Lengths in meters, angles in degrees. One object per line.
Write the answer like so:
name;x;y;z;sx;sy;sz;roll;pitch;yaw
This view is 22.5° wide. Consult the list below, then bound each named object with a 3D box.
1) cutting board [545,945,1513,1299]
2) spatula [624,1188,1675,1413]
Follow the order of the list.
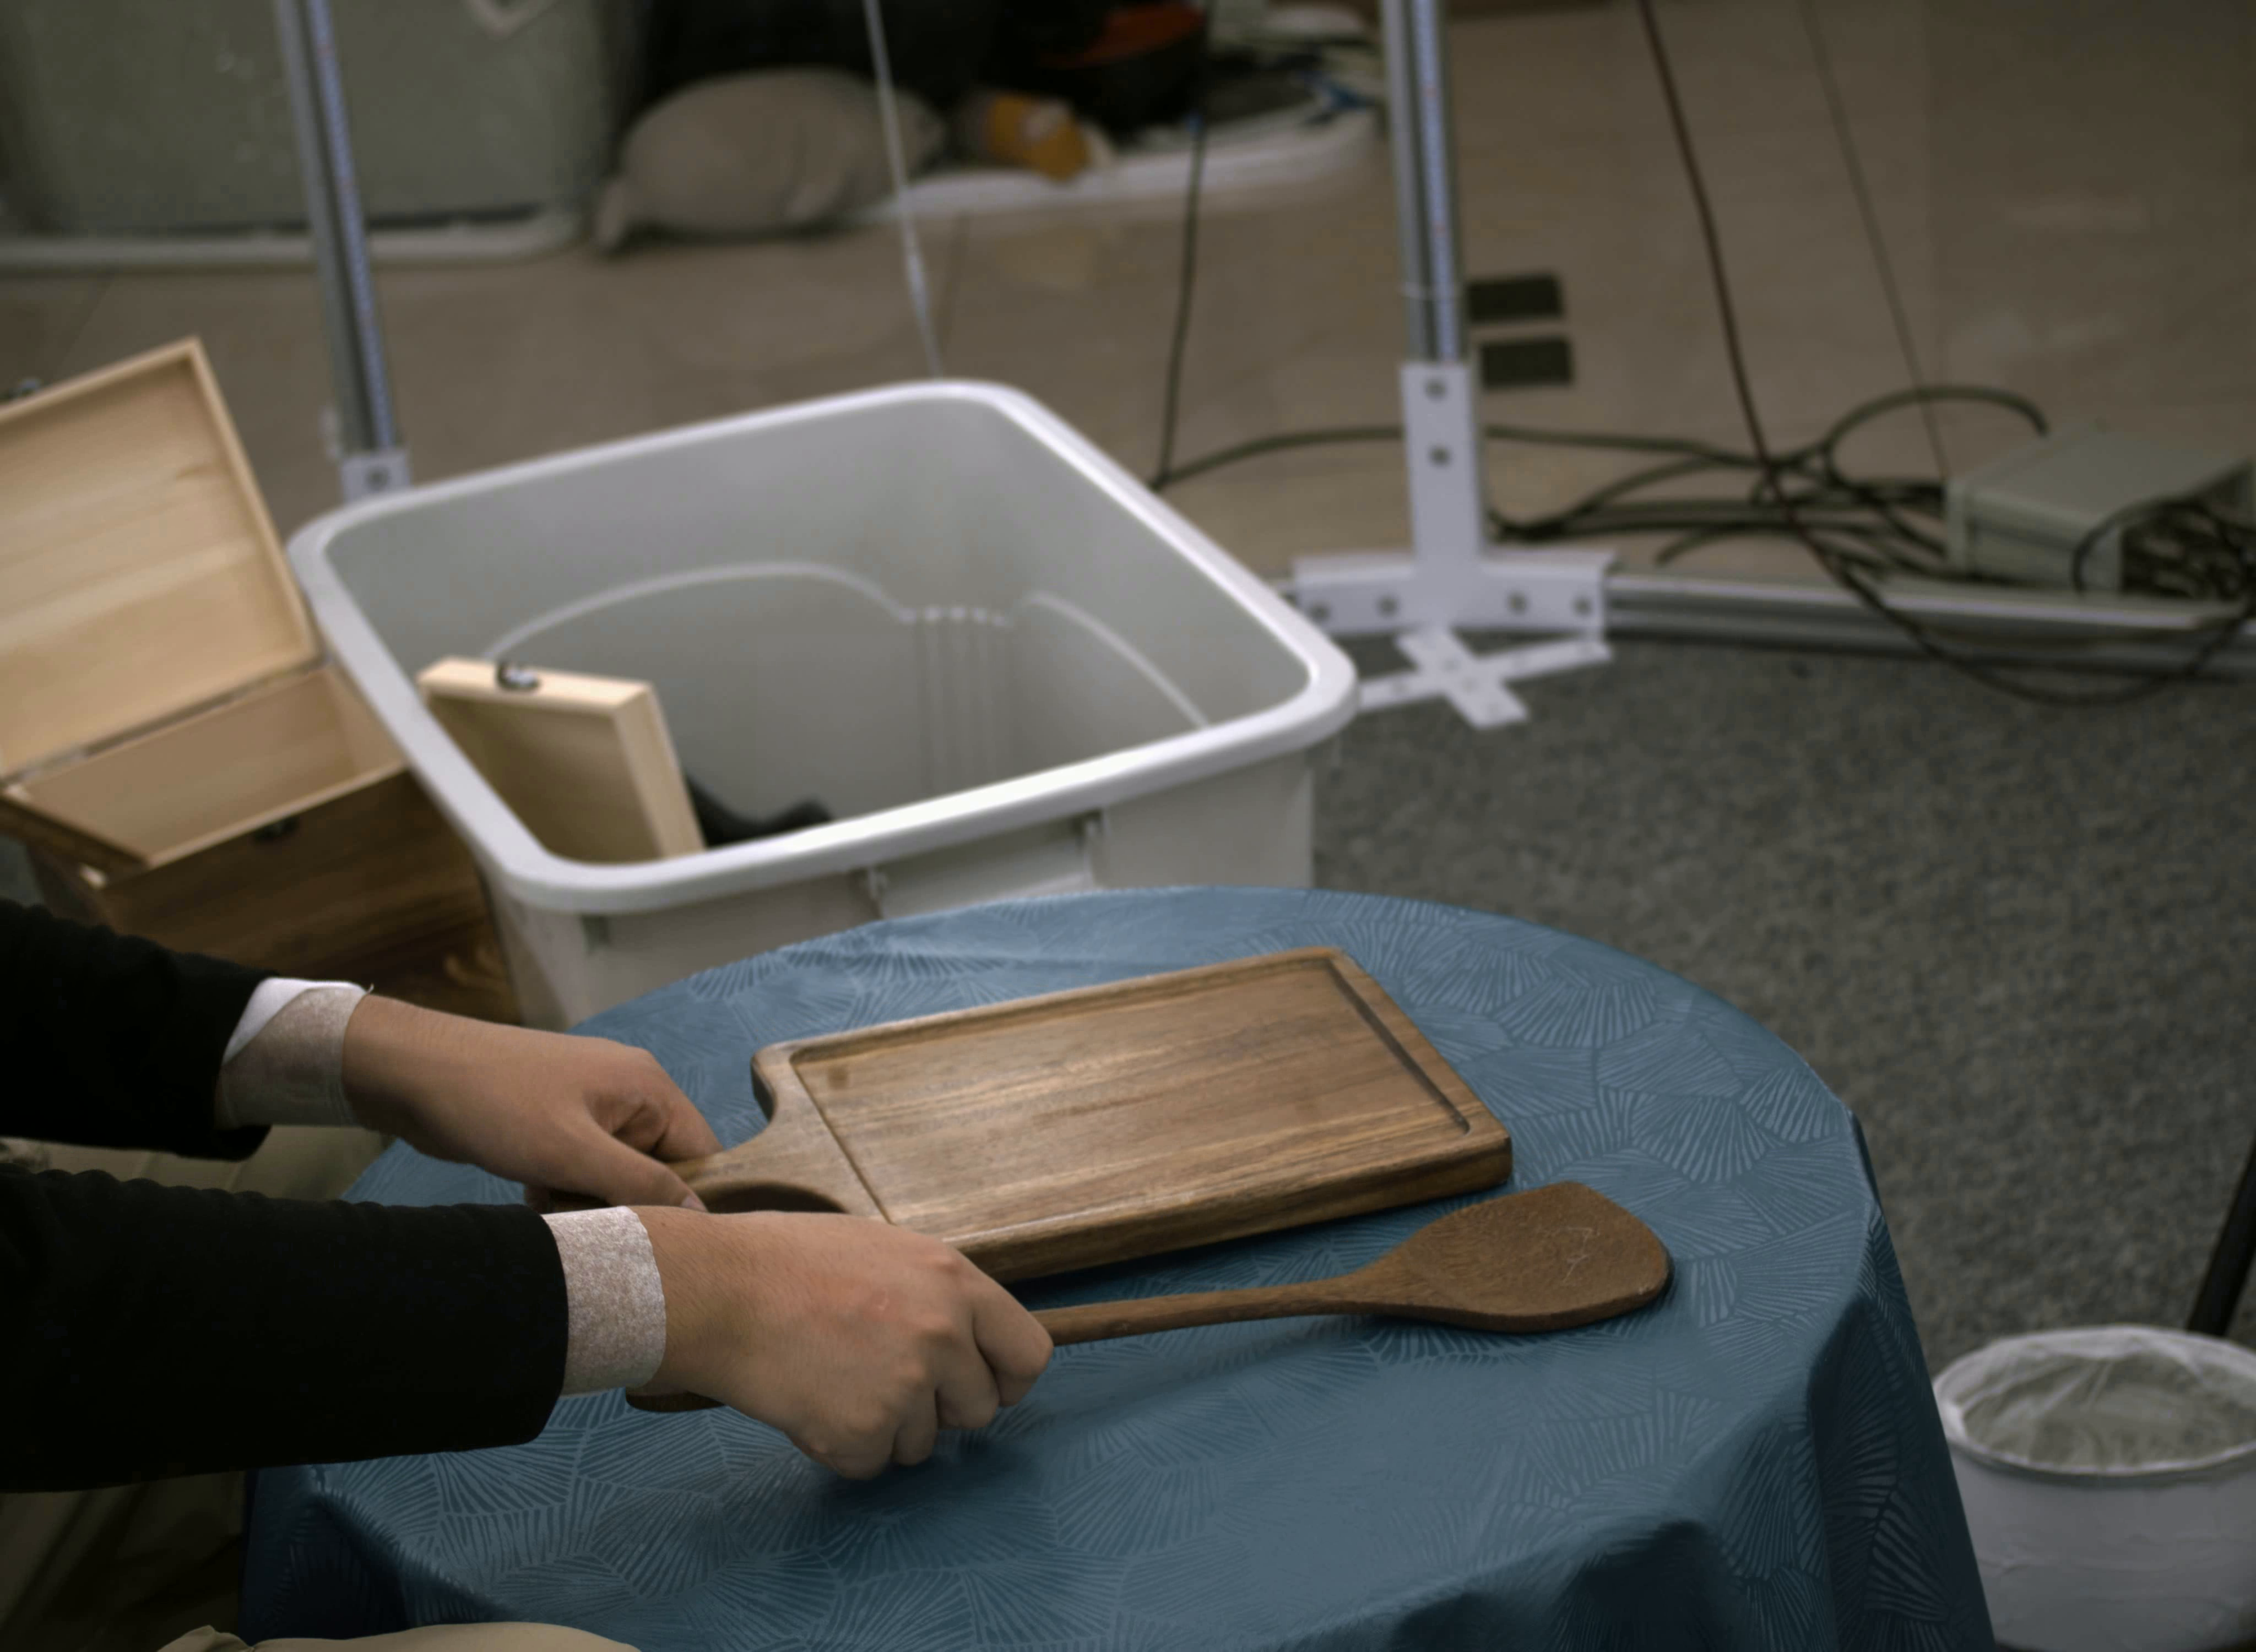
cutting board;-0.050;0.117;2.157;0.351;0.023;0.198;-10;25;-16
spatula;0.009;0.173;2.013;0.385;0.016;0.095;-6;23;-18
